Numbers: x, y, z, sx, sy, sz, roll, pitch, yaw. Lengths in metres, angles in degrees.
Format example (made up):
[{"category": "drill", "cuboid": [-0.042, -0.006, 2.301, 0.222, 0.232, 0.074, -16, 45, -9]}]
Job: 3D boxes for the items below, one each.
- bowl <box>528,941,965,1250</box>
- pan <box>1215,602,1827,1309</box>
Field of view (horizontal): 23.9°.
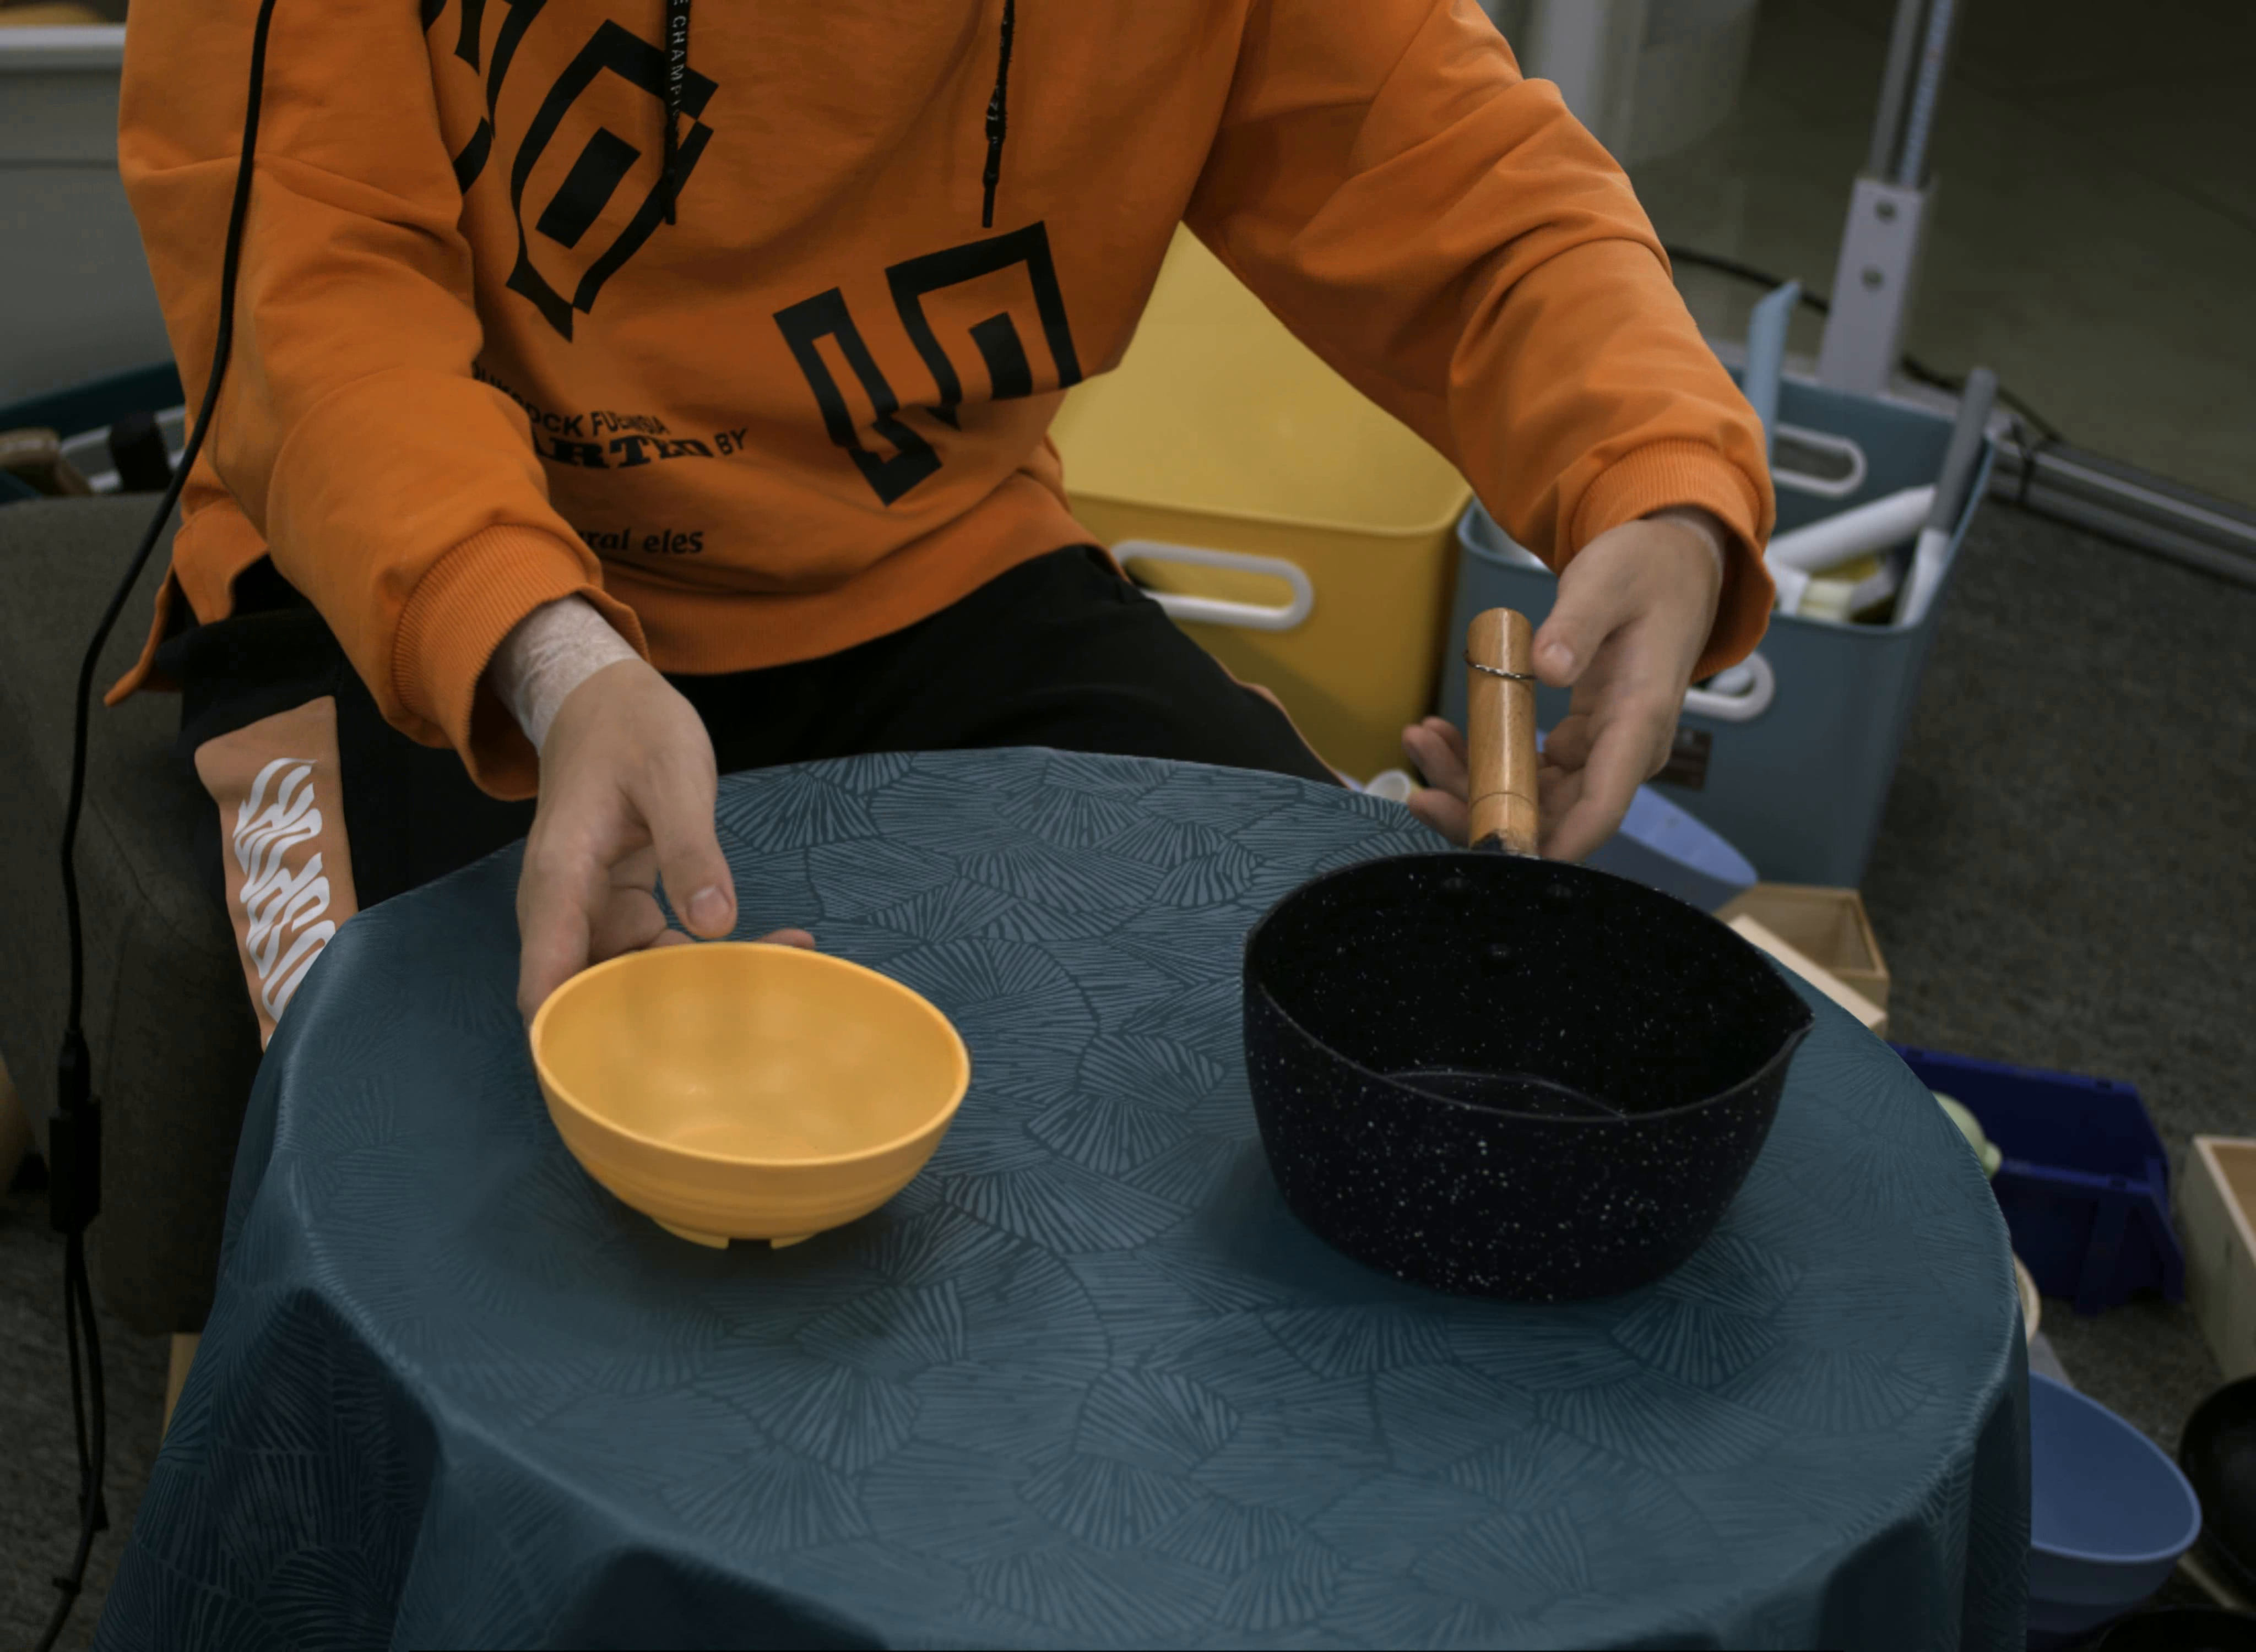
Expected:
[{"category": "bowl", "cuboid": [-0.128, 0.098, 1.760, 0.145, 0.060, 0.146, 6, 26, -3]}, {"category": "pan", "cuboid": [0.131, 0.042, 1.874, 0.207, 0.108, 0.345, 4, 28, -1]}]
